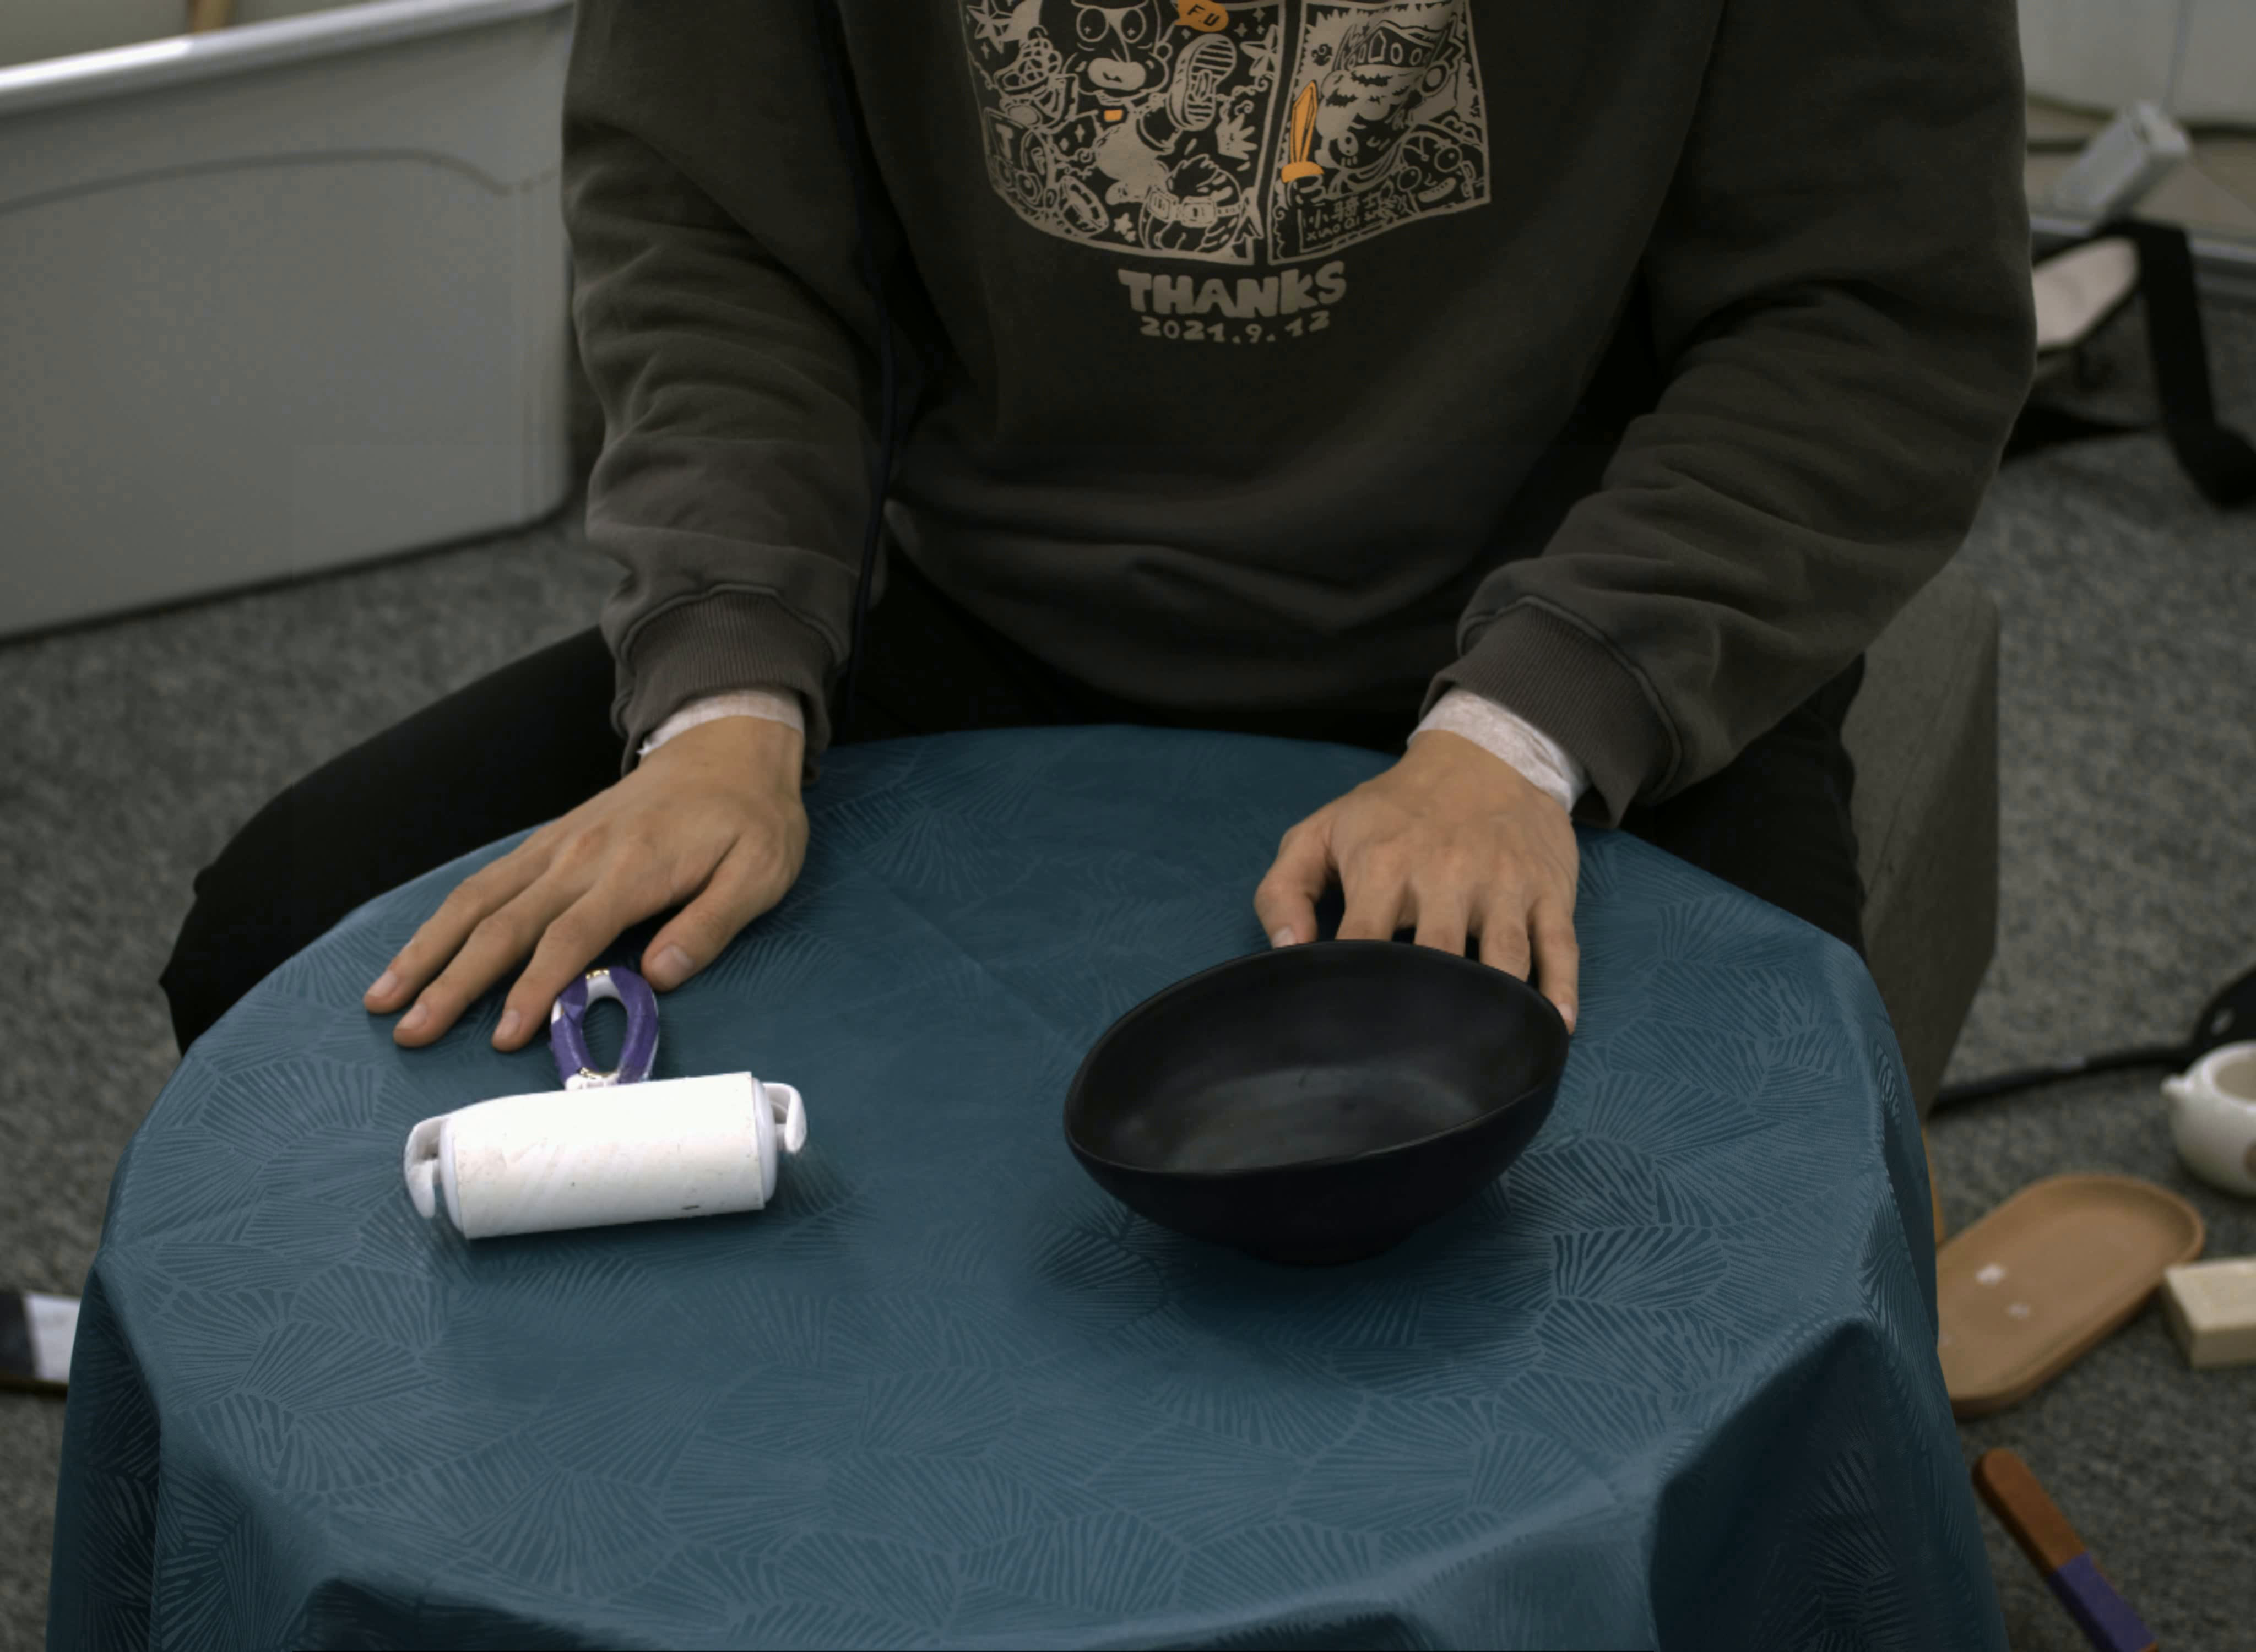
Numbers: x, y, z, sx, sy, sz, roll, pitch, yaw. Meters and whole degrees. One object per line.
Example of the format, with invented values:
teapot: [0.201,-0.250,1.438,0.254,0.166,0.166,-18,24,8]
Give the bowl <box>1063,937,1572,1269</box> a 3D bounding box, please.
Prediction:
bowl: [0.064,0.100,1.828,0.171,0.066,0.138,-14,28,-17]

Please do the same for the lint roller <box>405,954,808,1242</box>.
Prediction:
lint roller: [-0.176,0.078,1.910,0.132,0.049,0.183,-5,30,-2]
